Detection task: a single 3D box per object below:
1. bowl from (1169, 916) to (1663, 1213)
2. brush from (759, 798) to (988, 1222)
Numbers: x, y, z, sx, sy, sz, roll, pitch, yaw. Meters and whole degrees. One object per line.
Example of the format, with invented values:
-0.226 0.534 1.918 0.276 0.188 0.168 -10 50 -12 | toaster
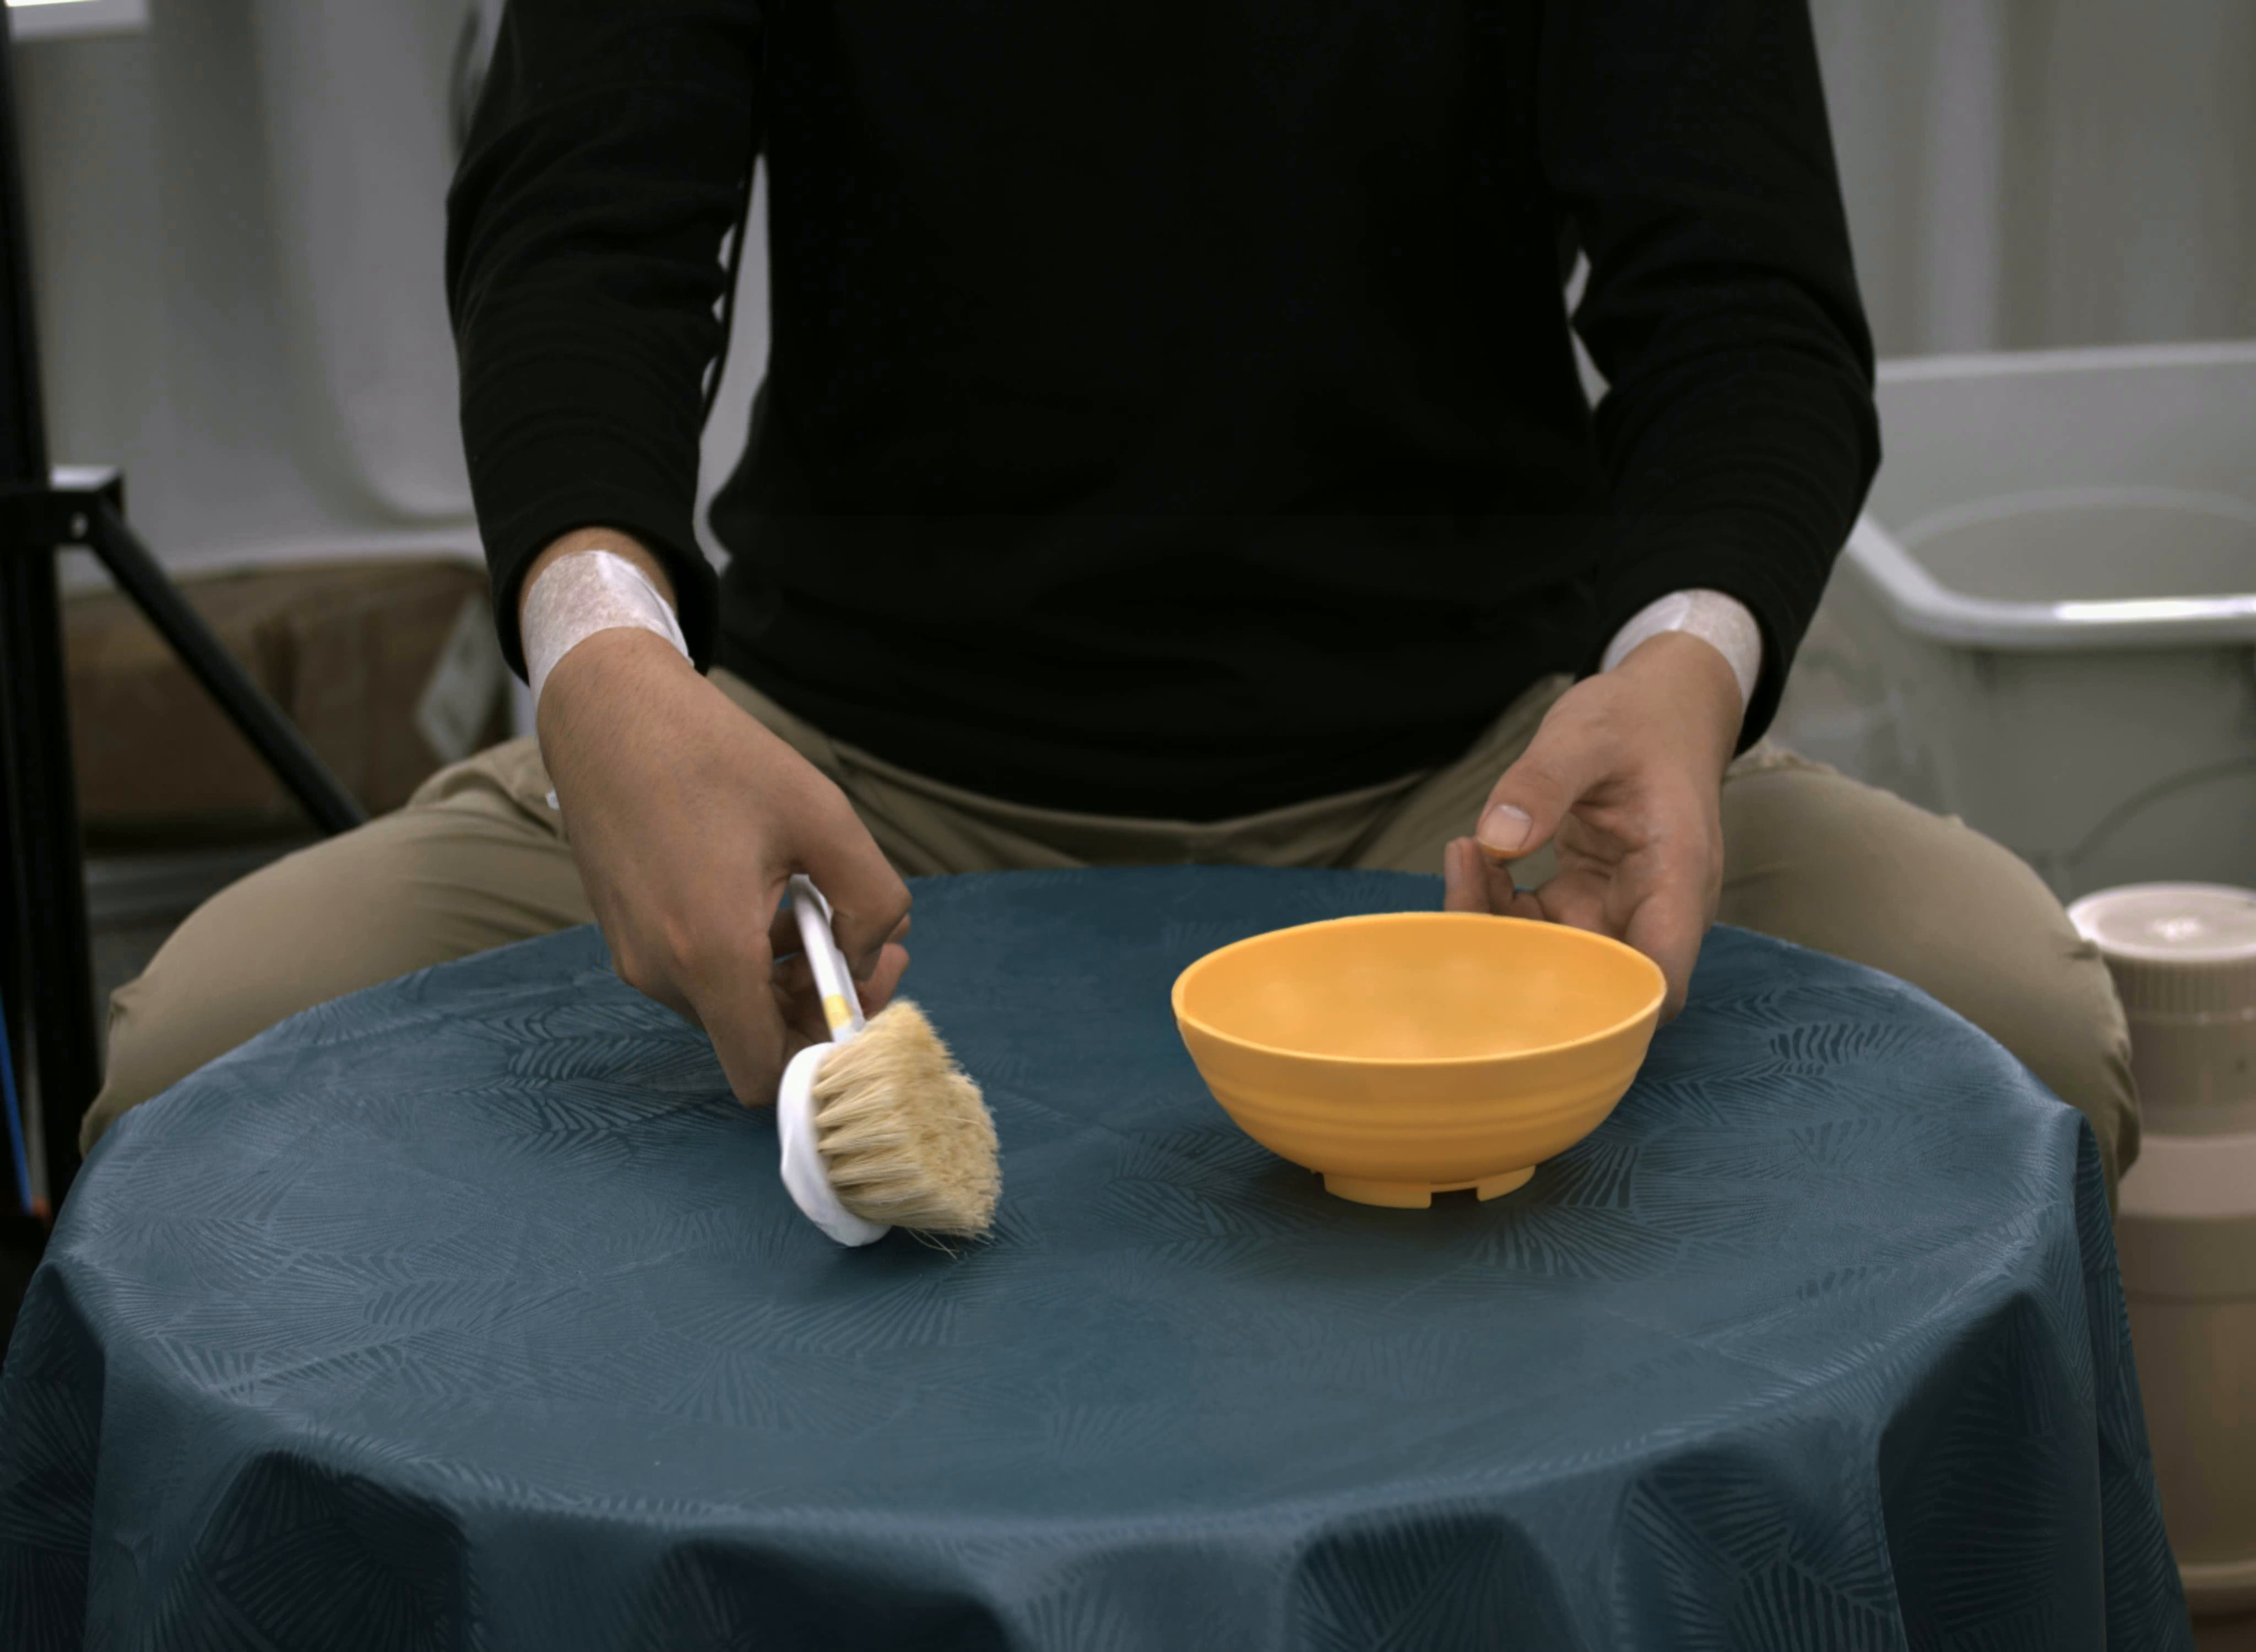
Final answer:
0.084 0.075 1.555 0.144 0.060 0.146 -1 15 -1 | bowl
-0.080 0.043 1.608 0.056 0.068 0.269 -18 23 2 | brush
